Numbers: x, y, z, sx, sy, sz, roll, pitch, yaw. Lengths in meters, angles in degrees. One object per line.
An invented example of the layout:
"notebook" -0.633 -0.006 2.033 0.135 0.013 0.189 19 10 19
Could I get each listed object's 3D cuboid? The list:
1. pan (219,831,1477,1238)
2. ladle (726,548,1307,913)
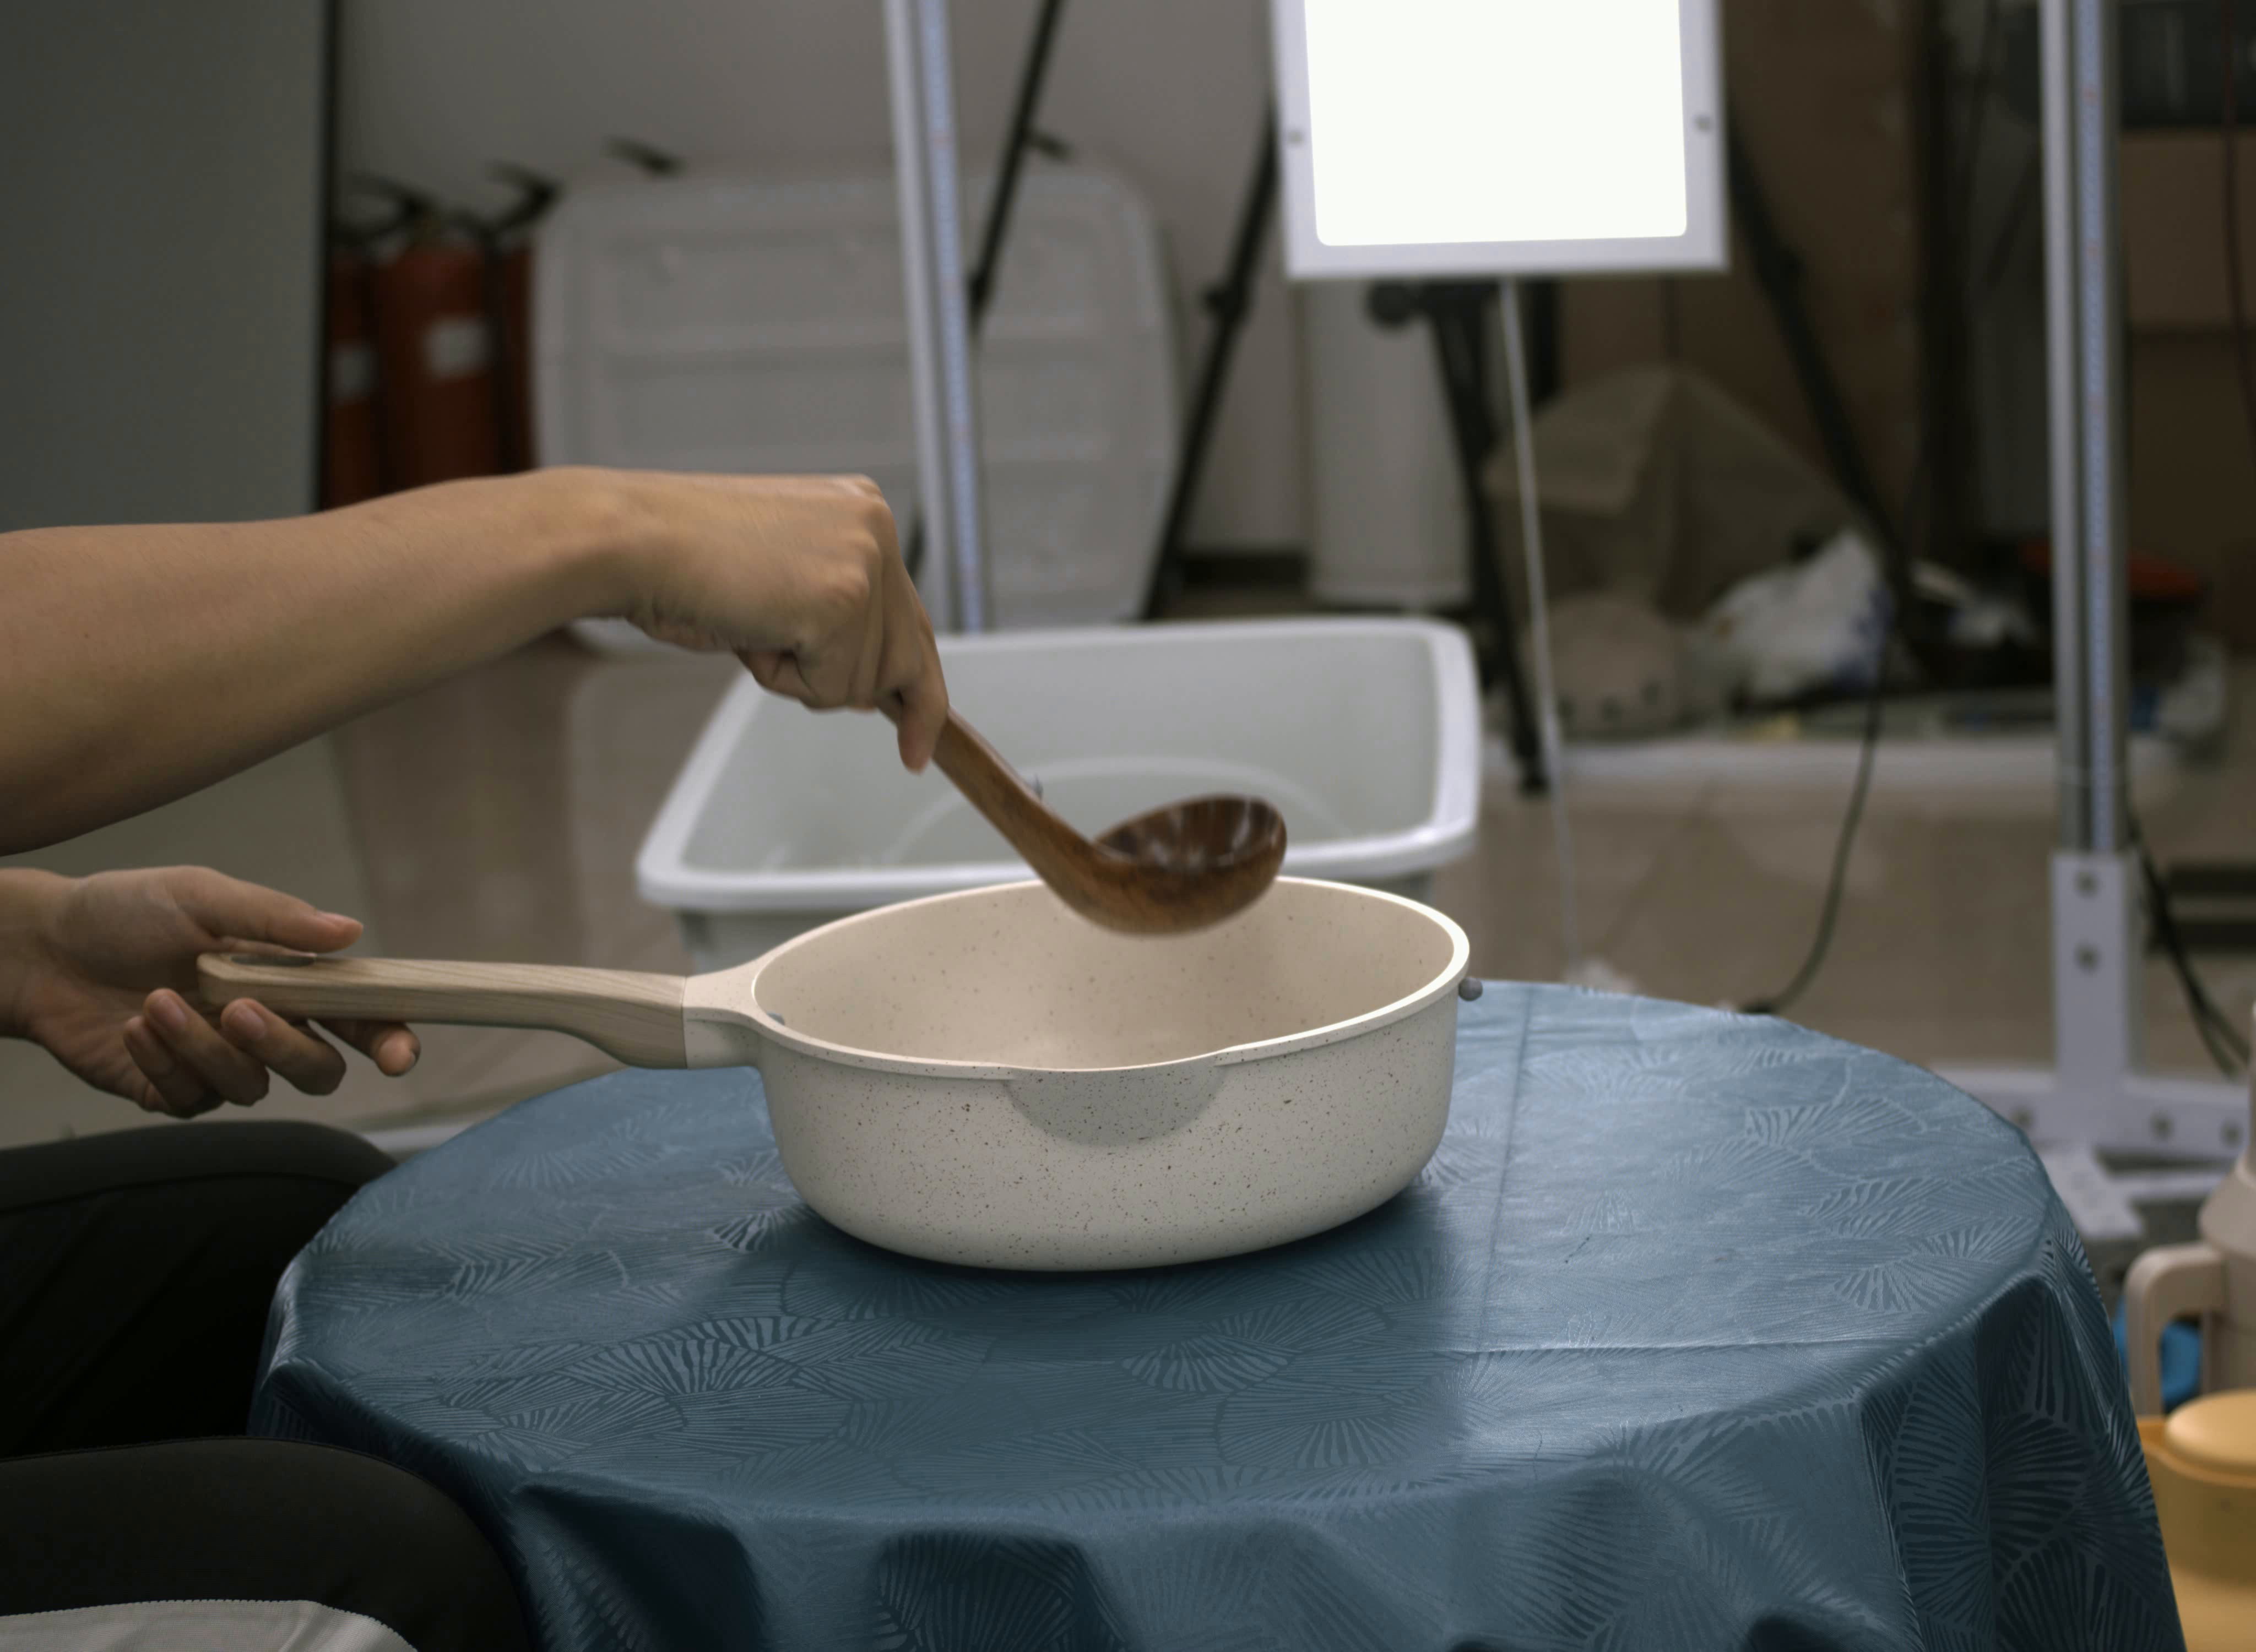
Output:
"pan" -0.093 0.074 1.913 0.434 0.102 0.263 -5 15 1
"ladle" -0.035 -0.047 1.862 0.084 0.076 0.270 -8 -35 37
